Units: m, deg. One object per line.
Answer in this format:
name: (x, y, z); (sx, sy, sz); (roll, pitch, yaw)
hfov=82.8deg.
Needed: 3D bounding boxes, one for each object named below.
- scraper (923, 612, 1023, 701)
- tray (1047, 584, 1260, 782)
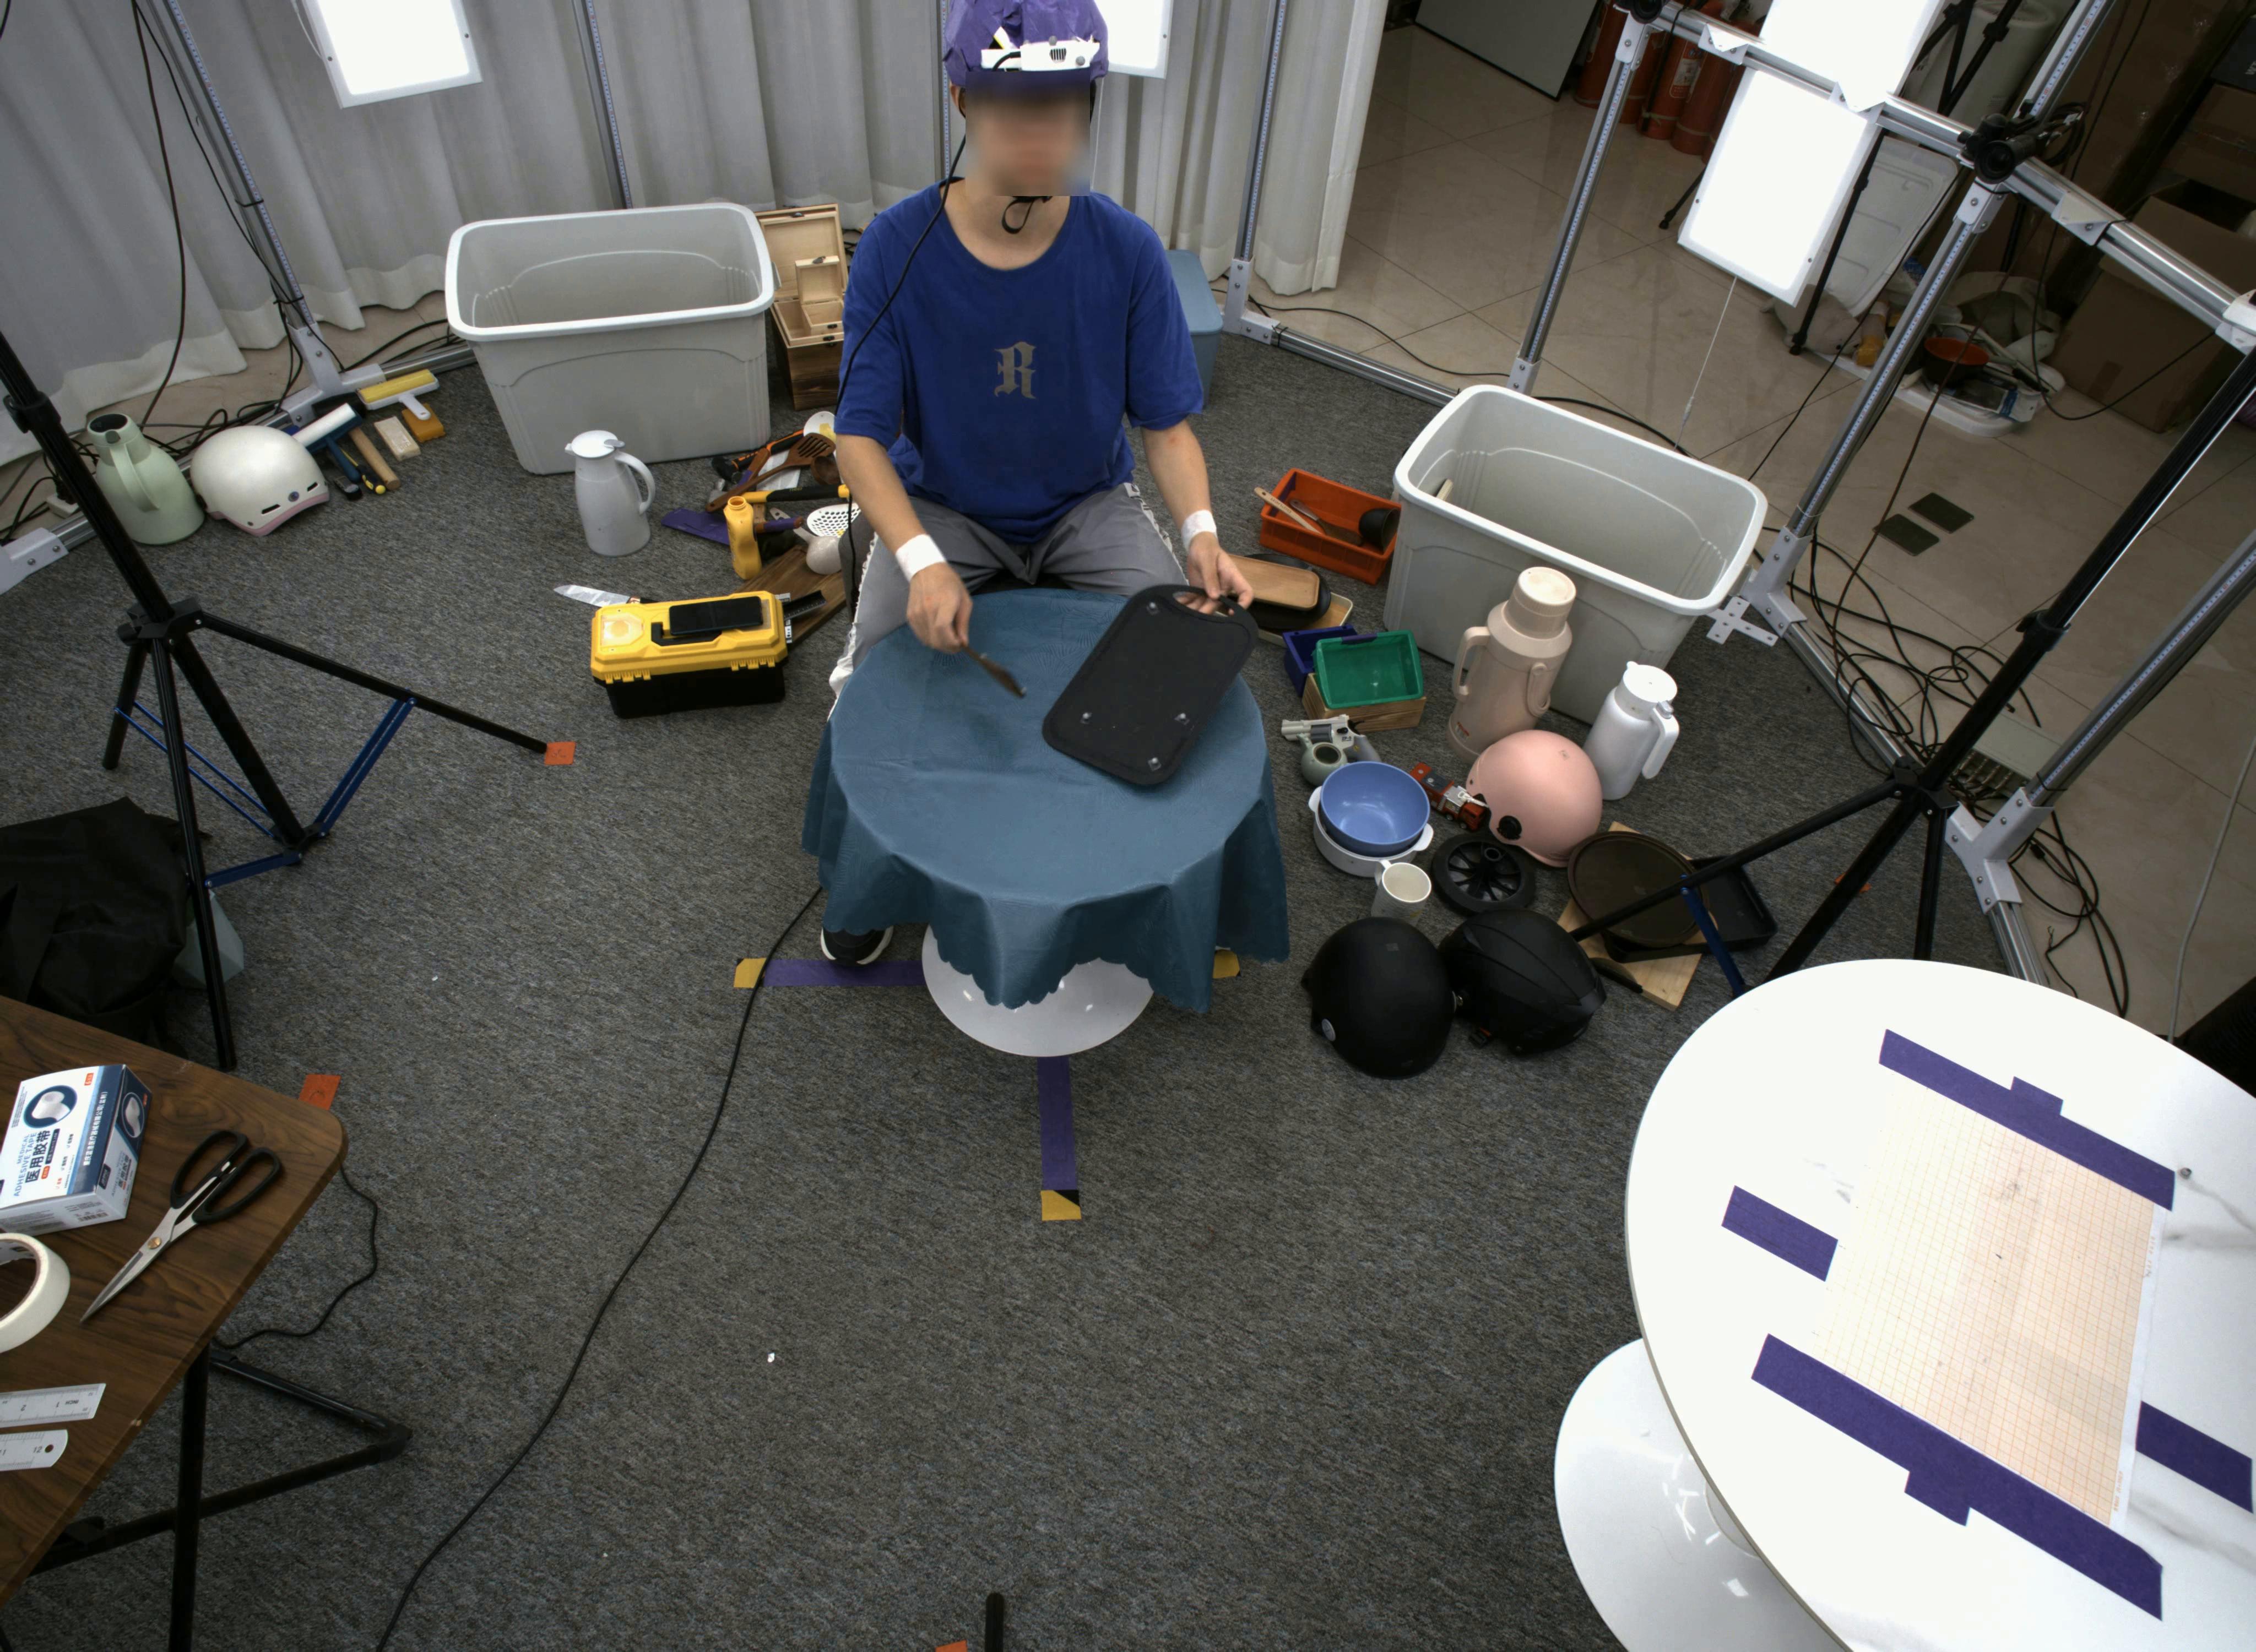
scraper: (-0.220, -0.238, 1.772); (0.011, 0.074, 0.215); (-47, 56, -1)
tray: (0.040, -0.213, 1.792); (0.213, 0.009, 0.329); (24, 66, 25)
